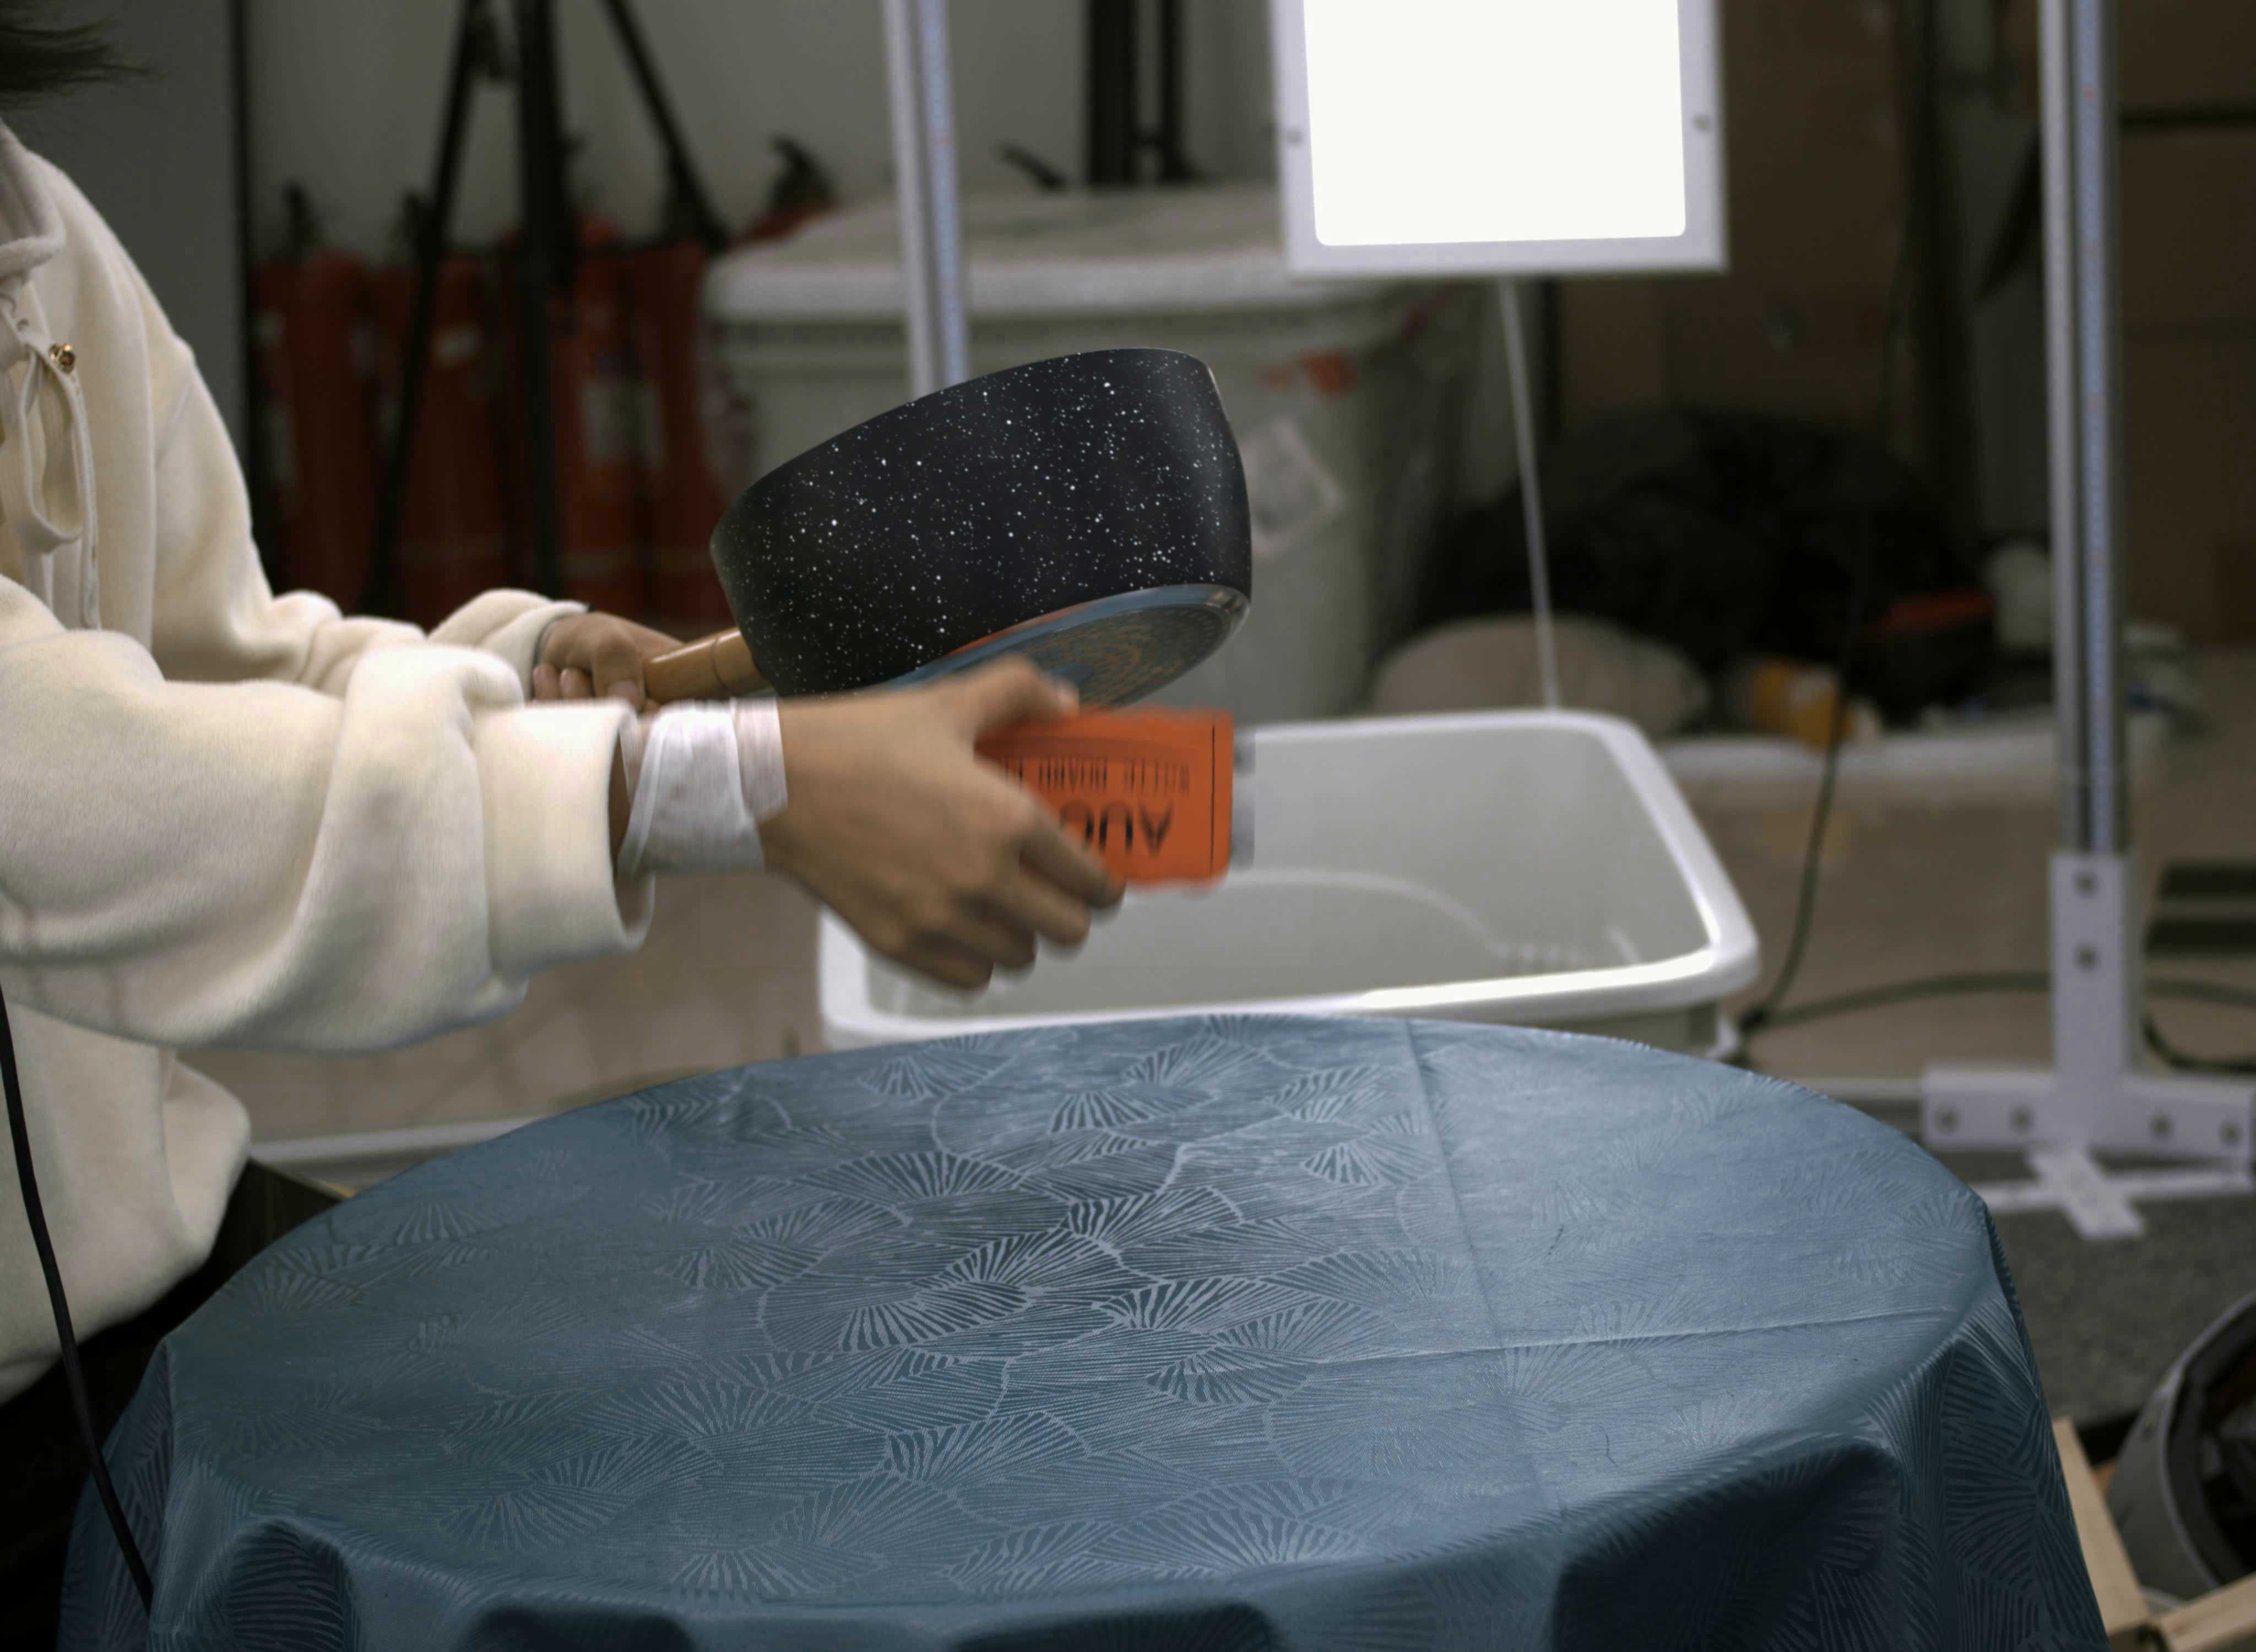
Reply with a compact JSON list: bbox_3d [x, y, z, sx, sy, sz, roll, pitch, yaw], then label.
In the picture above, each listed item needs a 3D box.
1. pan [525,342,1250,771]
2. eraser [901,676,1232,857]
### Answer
[{"bbox_3d":[-0.099,-0.065,1.940,0.202,0.108,0.350,-7,-17,-45],"label":"pan"},{"bbox_3d":[-0.020,-0.019,1.792,0.107,0.059,0.023,0,0,-1],"label":"eraser"}]
